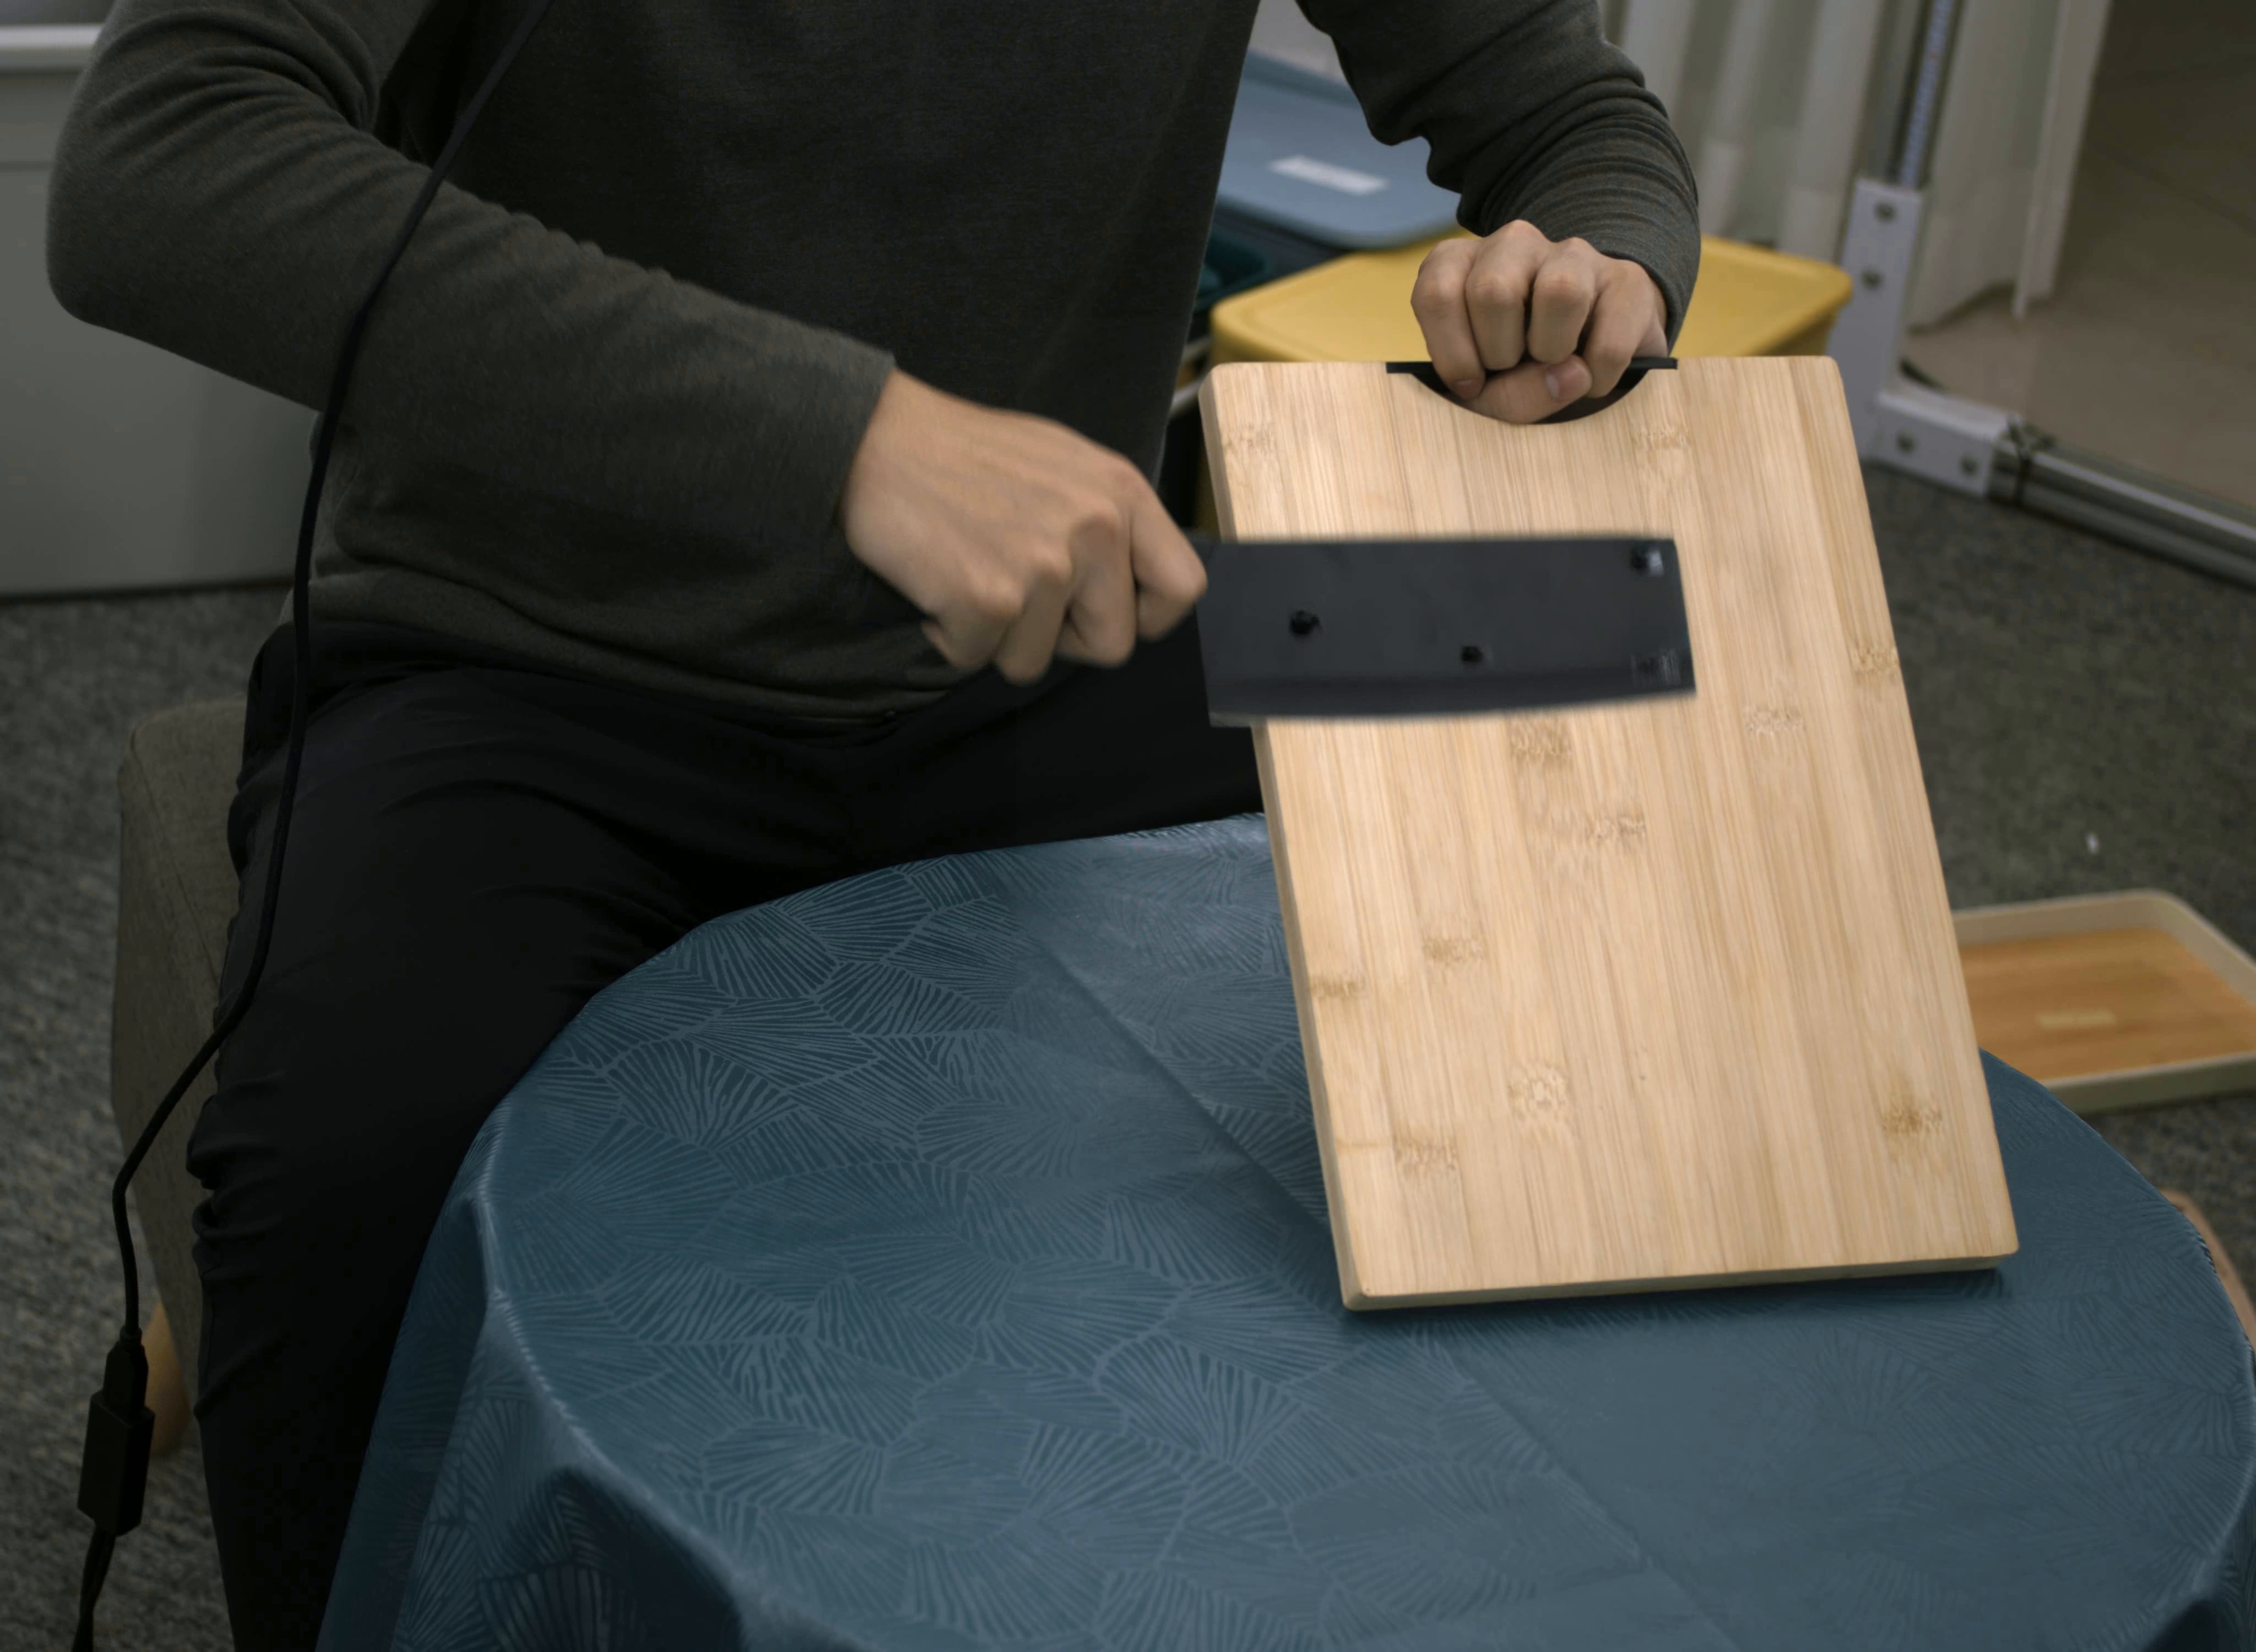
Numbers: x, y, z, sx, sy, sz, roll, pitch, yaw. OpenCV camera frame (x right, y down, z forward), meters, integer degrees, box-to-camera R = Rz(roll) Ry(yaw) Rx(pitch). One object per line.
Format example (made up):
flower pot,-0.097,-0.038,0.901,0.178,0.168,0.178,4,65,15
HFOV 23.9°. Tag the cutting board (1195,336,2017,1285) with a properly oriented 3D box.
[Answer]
cutting board,0.162,-0.010,1.840,0.249,0.023,0.351,-3,68,-17

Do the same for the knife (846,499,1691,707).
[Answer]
knife,0.051,-0.078,1.823,0.300,0.021,0.081,2,70,-15
